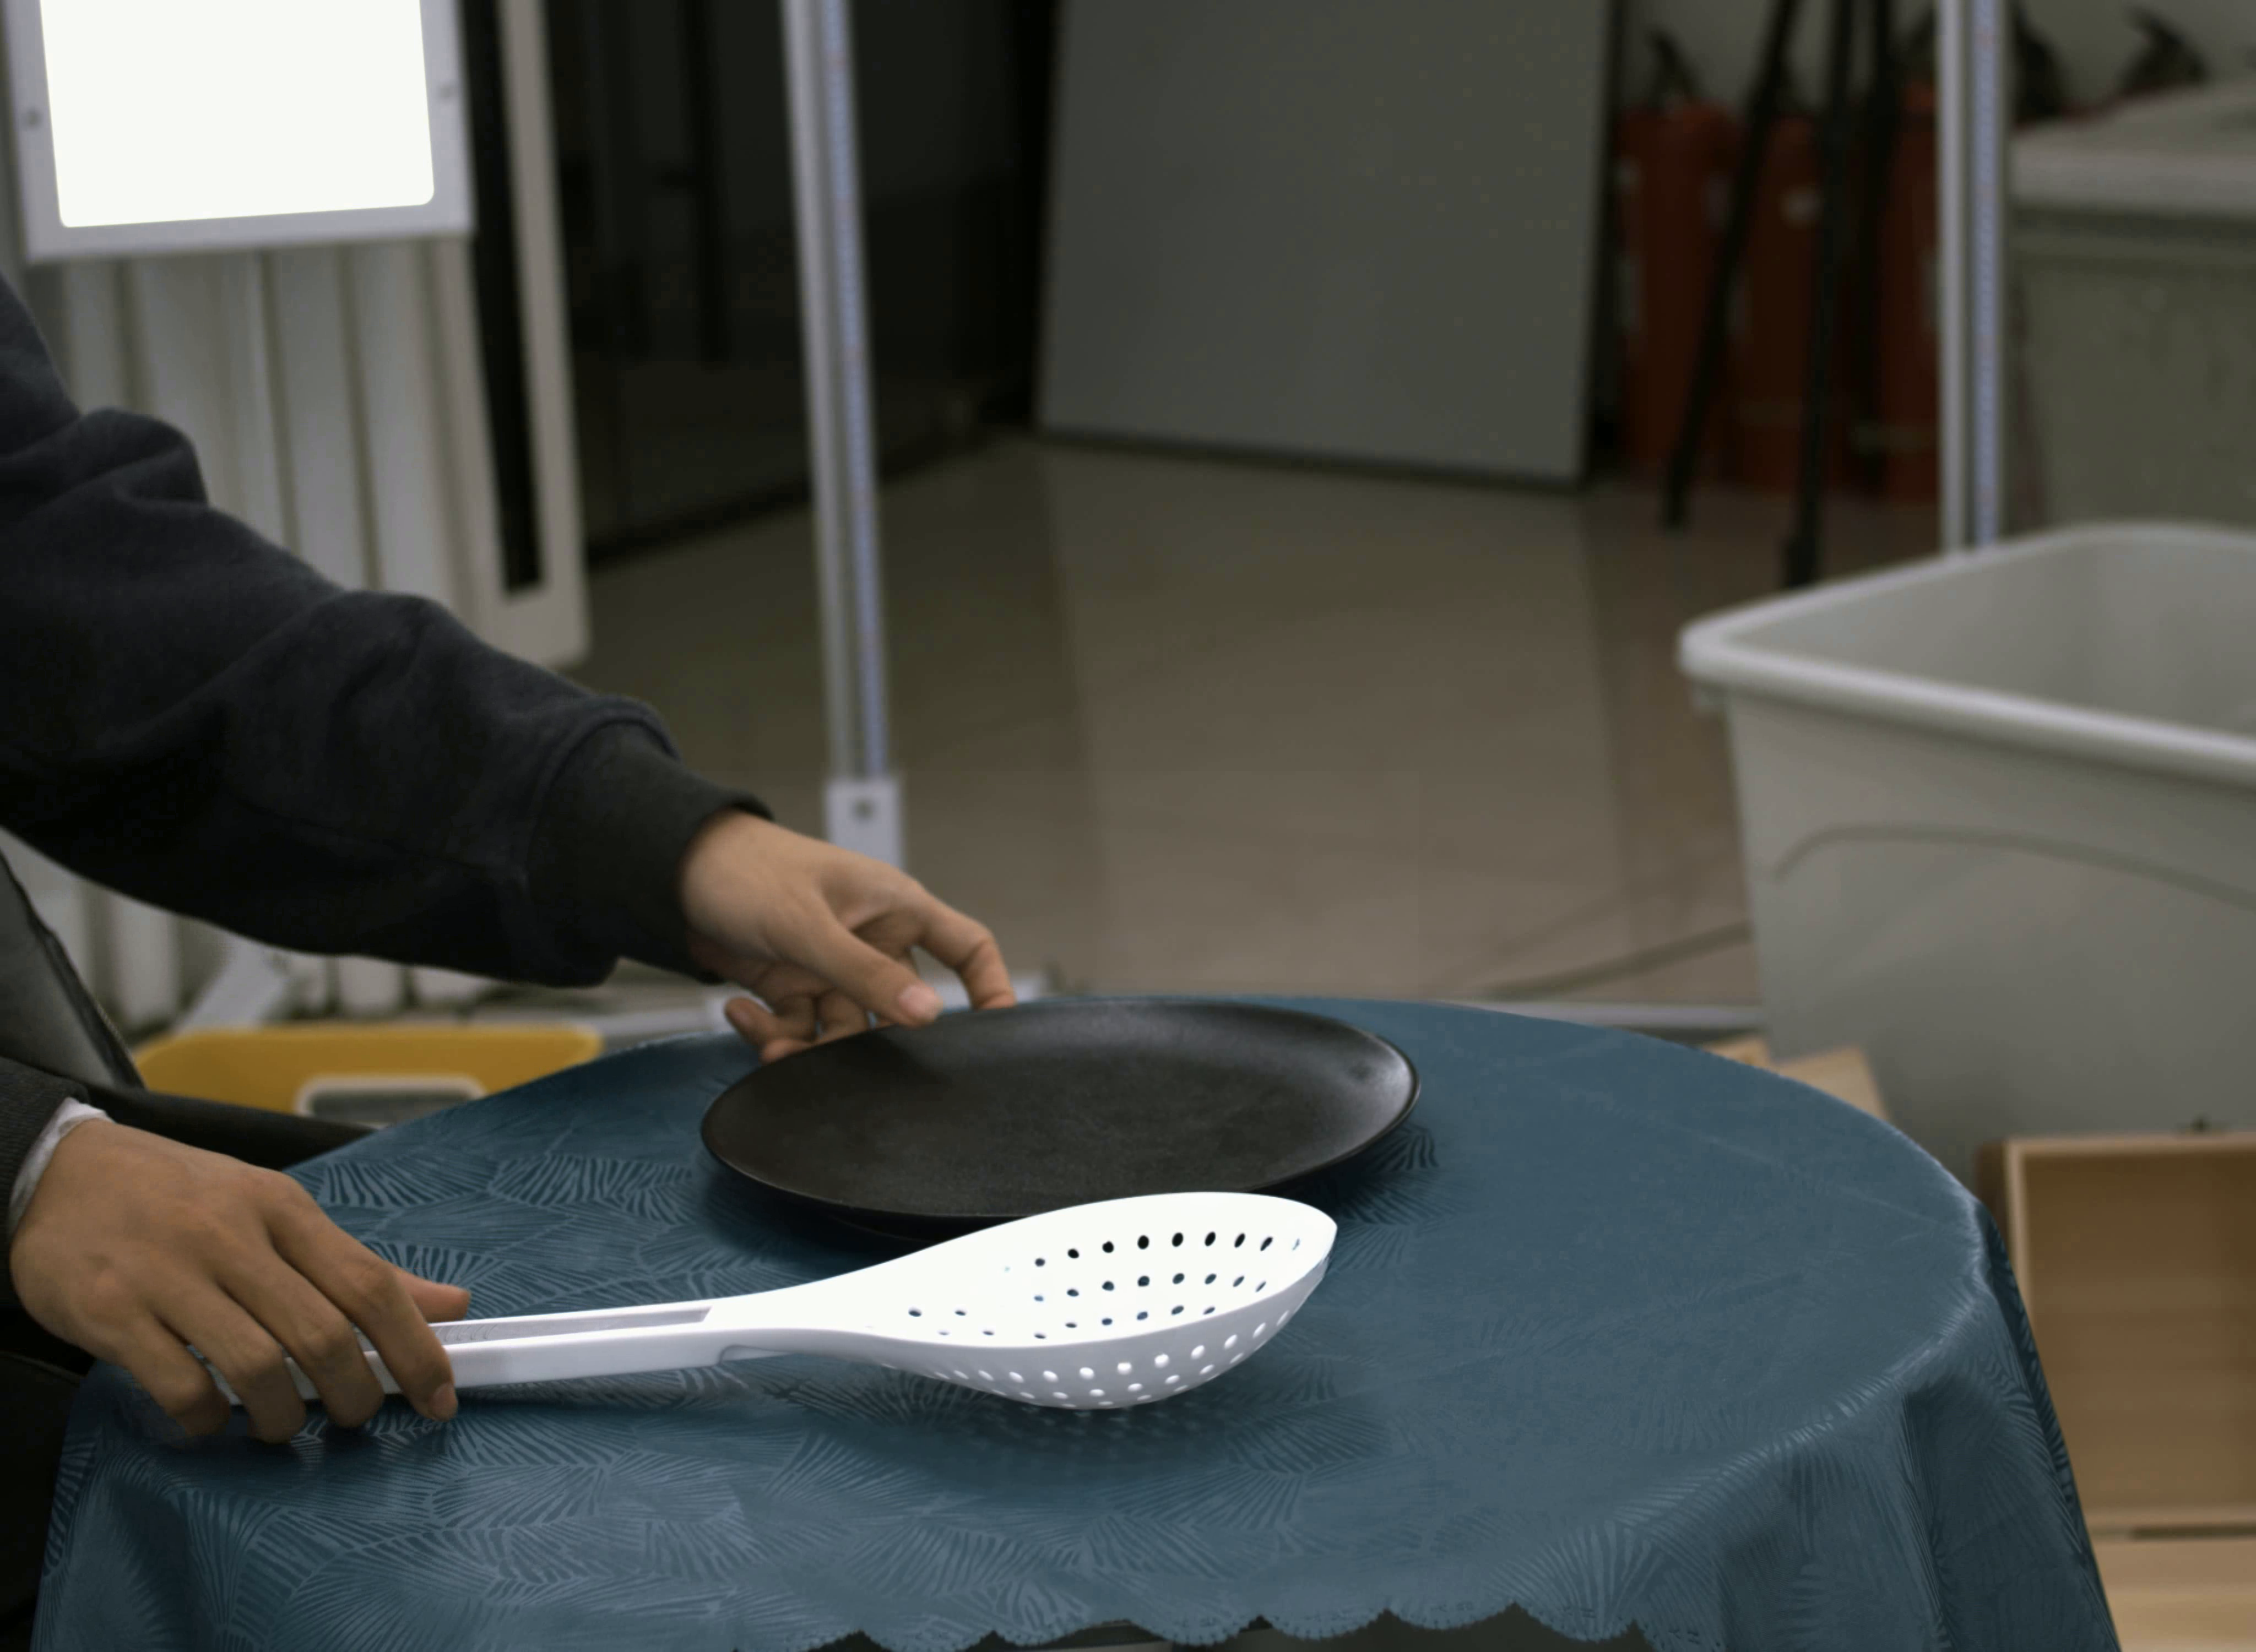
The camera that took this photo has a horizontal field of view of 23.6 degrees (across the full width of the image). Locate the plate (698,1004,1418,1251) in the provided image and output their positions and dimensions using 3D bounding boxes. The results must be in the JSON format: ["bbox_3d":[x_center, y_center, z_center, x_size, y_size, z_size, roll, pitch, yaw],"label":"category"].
[{"bbox_3d":[-0.022,0.103,1.801,0.241,0.024,0.245,-4,14,0],"label":"plate"}]

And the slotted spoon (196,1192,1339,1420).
[{"bbox_3d":[-0.108,0.148,1.594,0.347,0.046,0.135,-2,12,10],"label":"slotted spoon"}]
